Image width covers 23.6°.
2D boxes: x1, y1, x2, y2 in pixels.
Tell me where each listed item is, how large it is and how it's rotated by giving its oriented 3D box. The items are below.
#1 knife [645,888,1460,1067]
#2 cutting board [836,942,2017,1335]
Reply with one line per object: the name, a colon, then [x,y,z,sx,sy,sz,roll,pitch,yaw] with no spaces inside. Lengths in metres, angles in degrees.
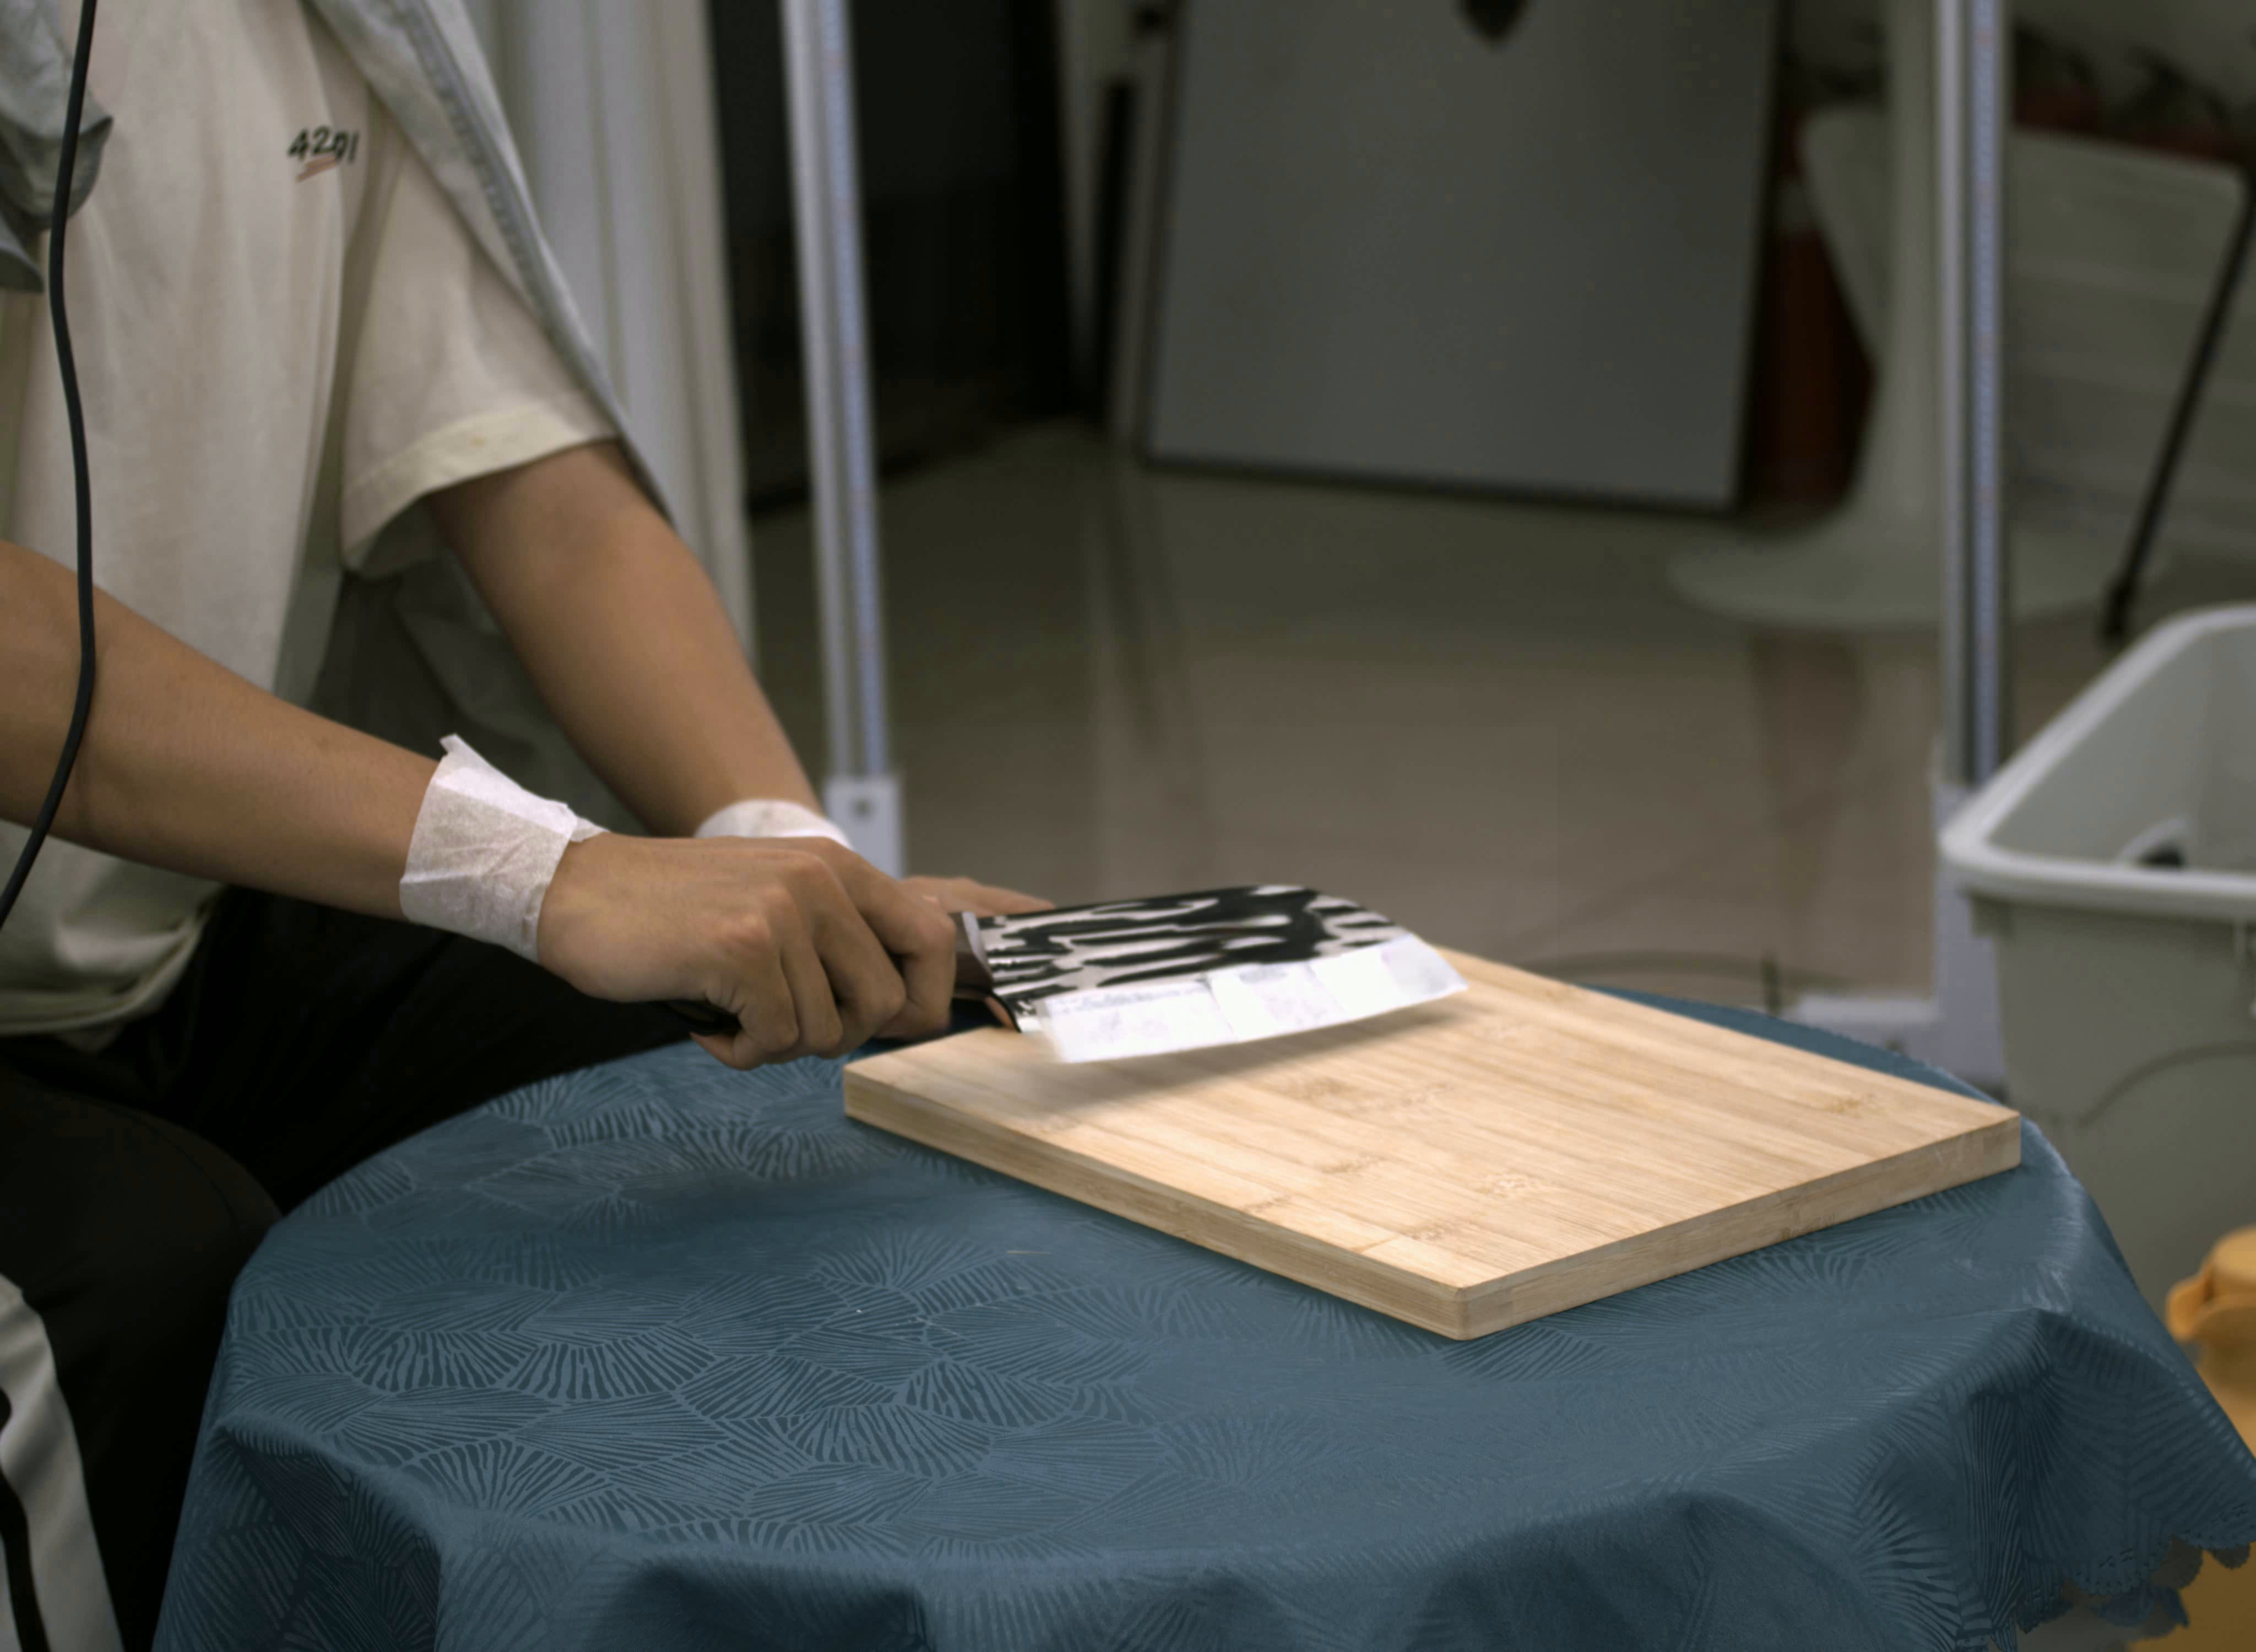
knife: [-0.020,0.054,1.826,0.293,0.024,0.069,-5,48,-28]
cutting board: [0.093,0.098,1.811,0.245,0.024,0.352,-13,16,-35]
